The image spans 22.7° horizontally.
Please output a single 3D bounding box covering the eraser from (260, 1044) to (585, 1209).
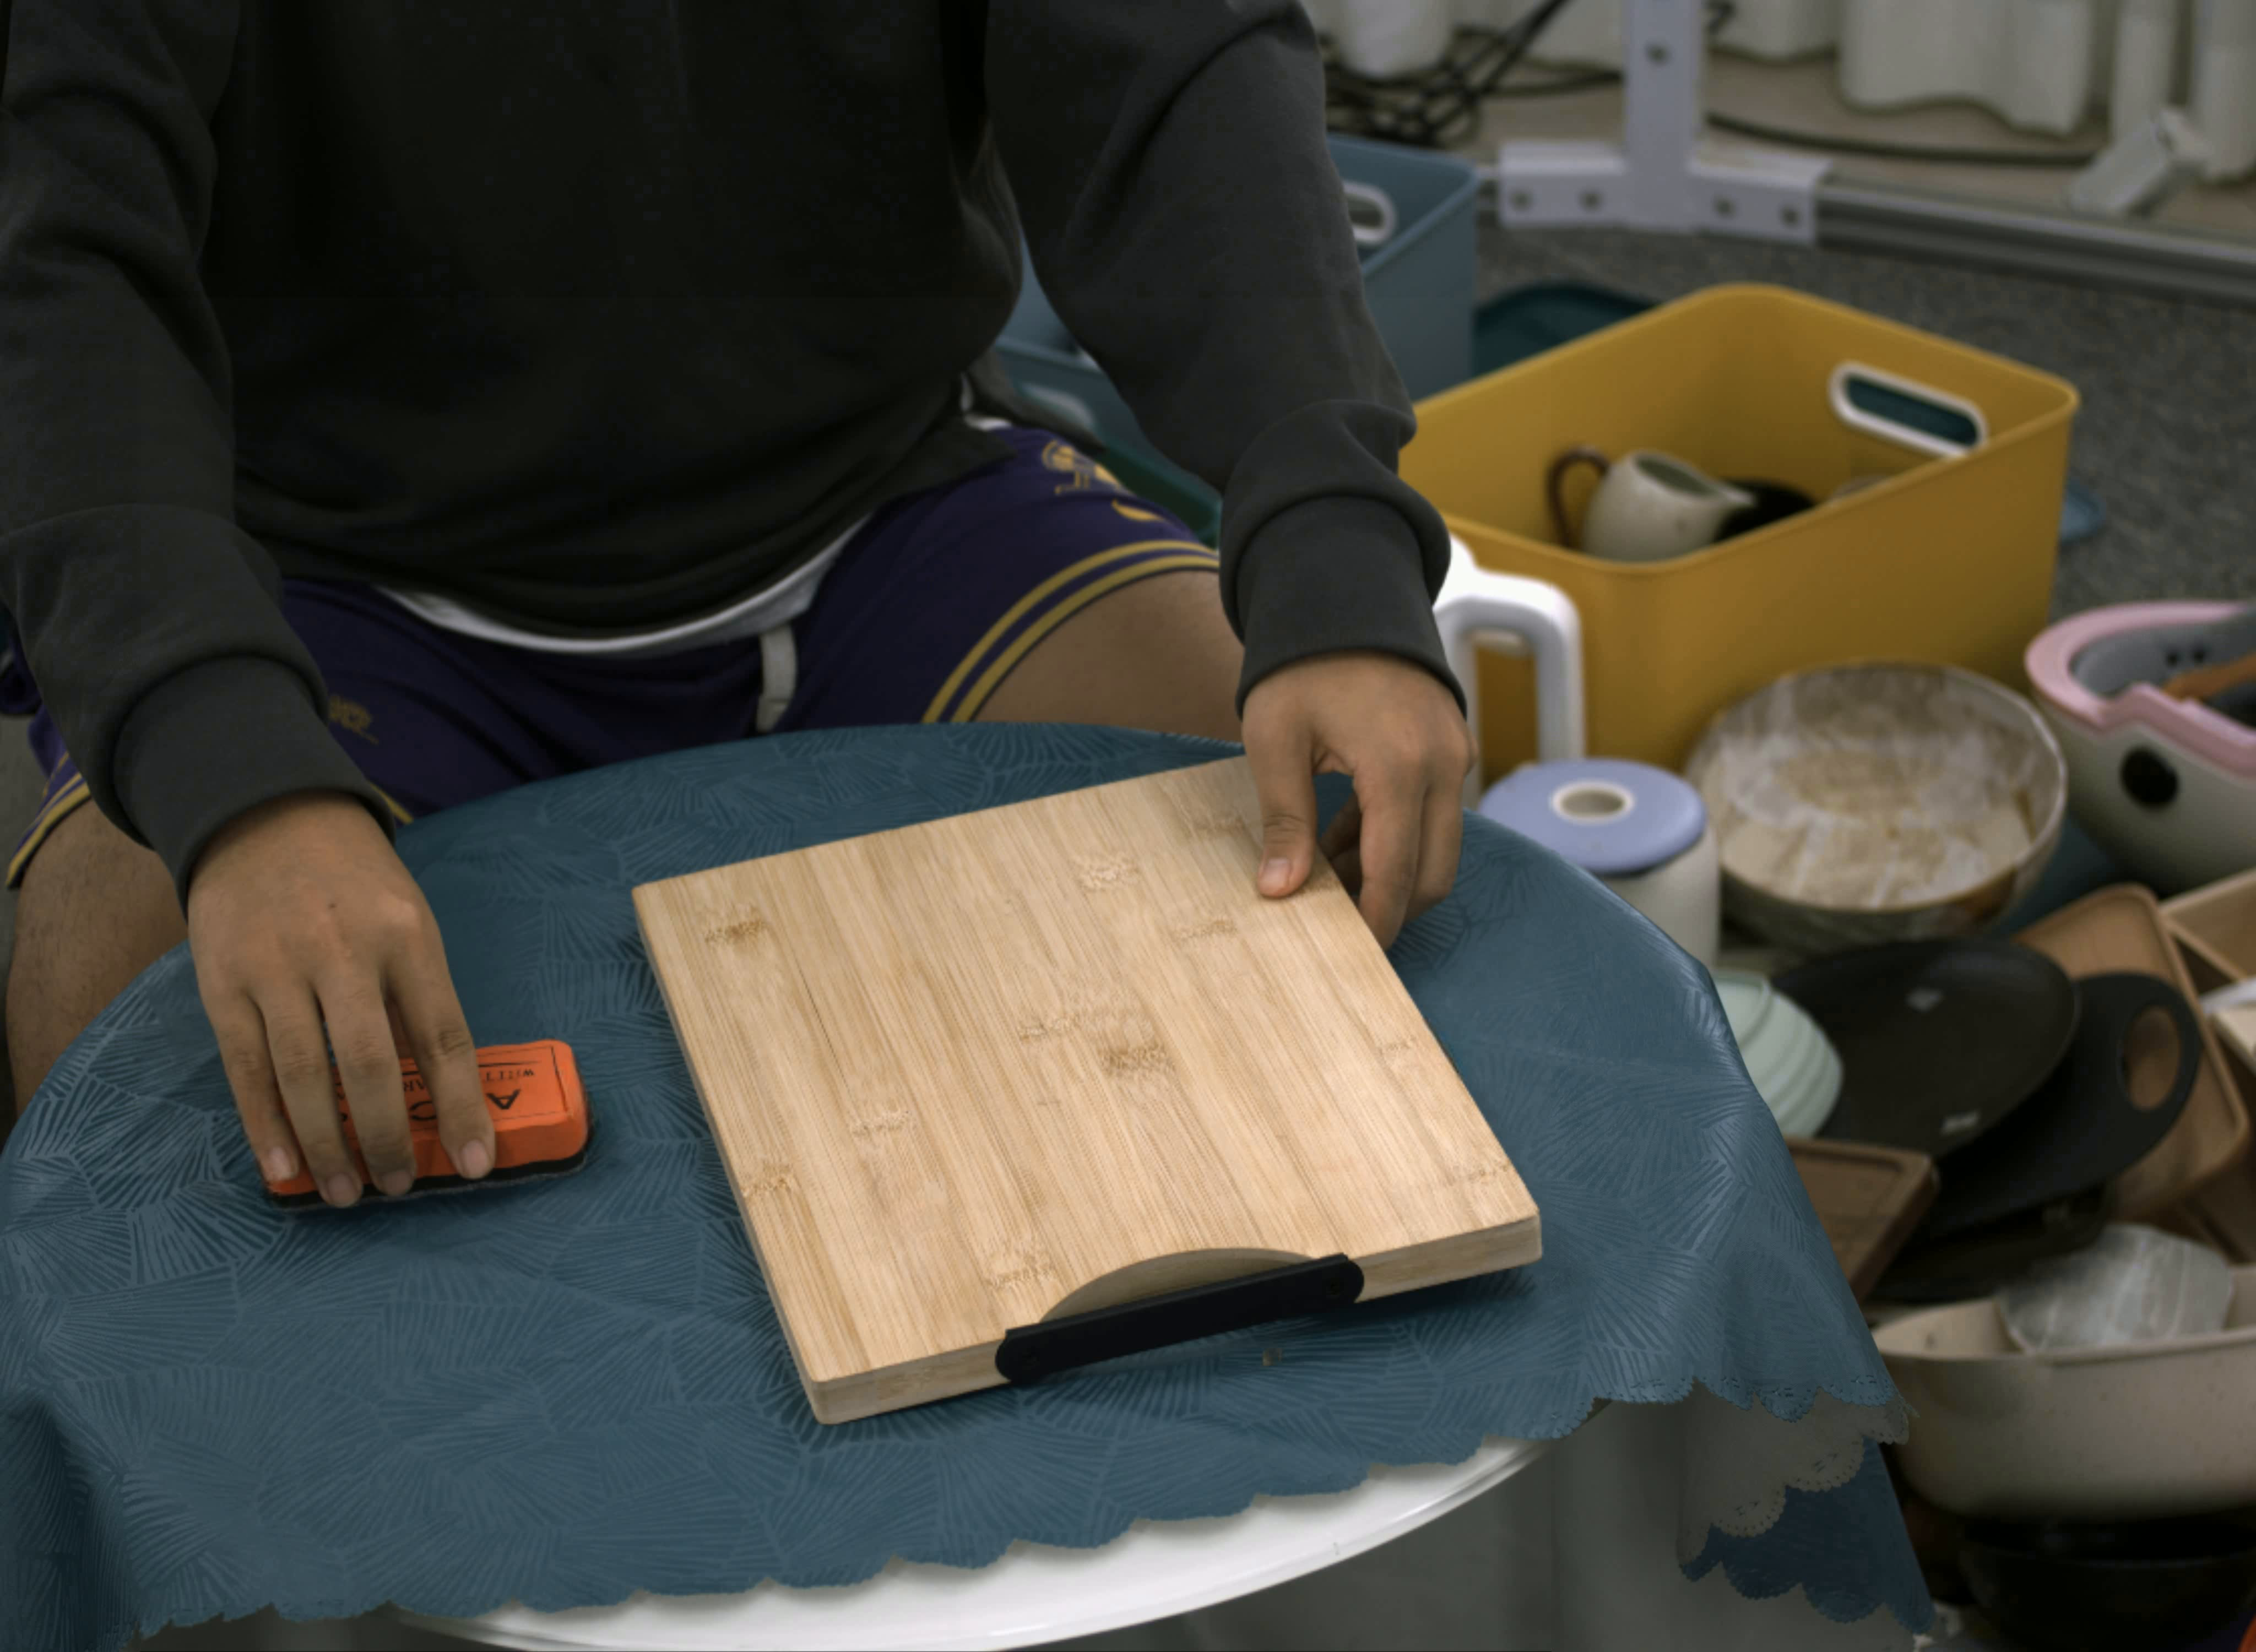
[{"bbox_3d":[-0.239,0.102,1.898,0.108,0.022,0.060,-6,27,-7],"label":"eraser"}]

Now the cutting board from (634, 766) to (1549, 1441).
[{"bbox_3d":[-0.023,0.084,1.906,0.251,0.023,0.352,-12,29,-10],"label":"cutting board"}]
